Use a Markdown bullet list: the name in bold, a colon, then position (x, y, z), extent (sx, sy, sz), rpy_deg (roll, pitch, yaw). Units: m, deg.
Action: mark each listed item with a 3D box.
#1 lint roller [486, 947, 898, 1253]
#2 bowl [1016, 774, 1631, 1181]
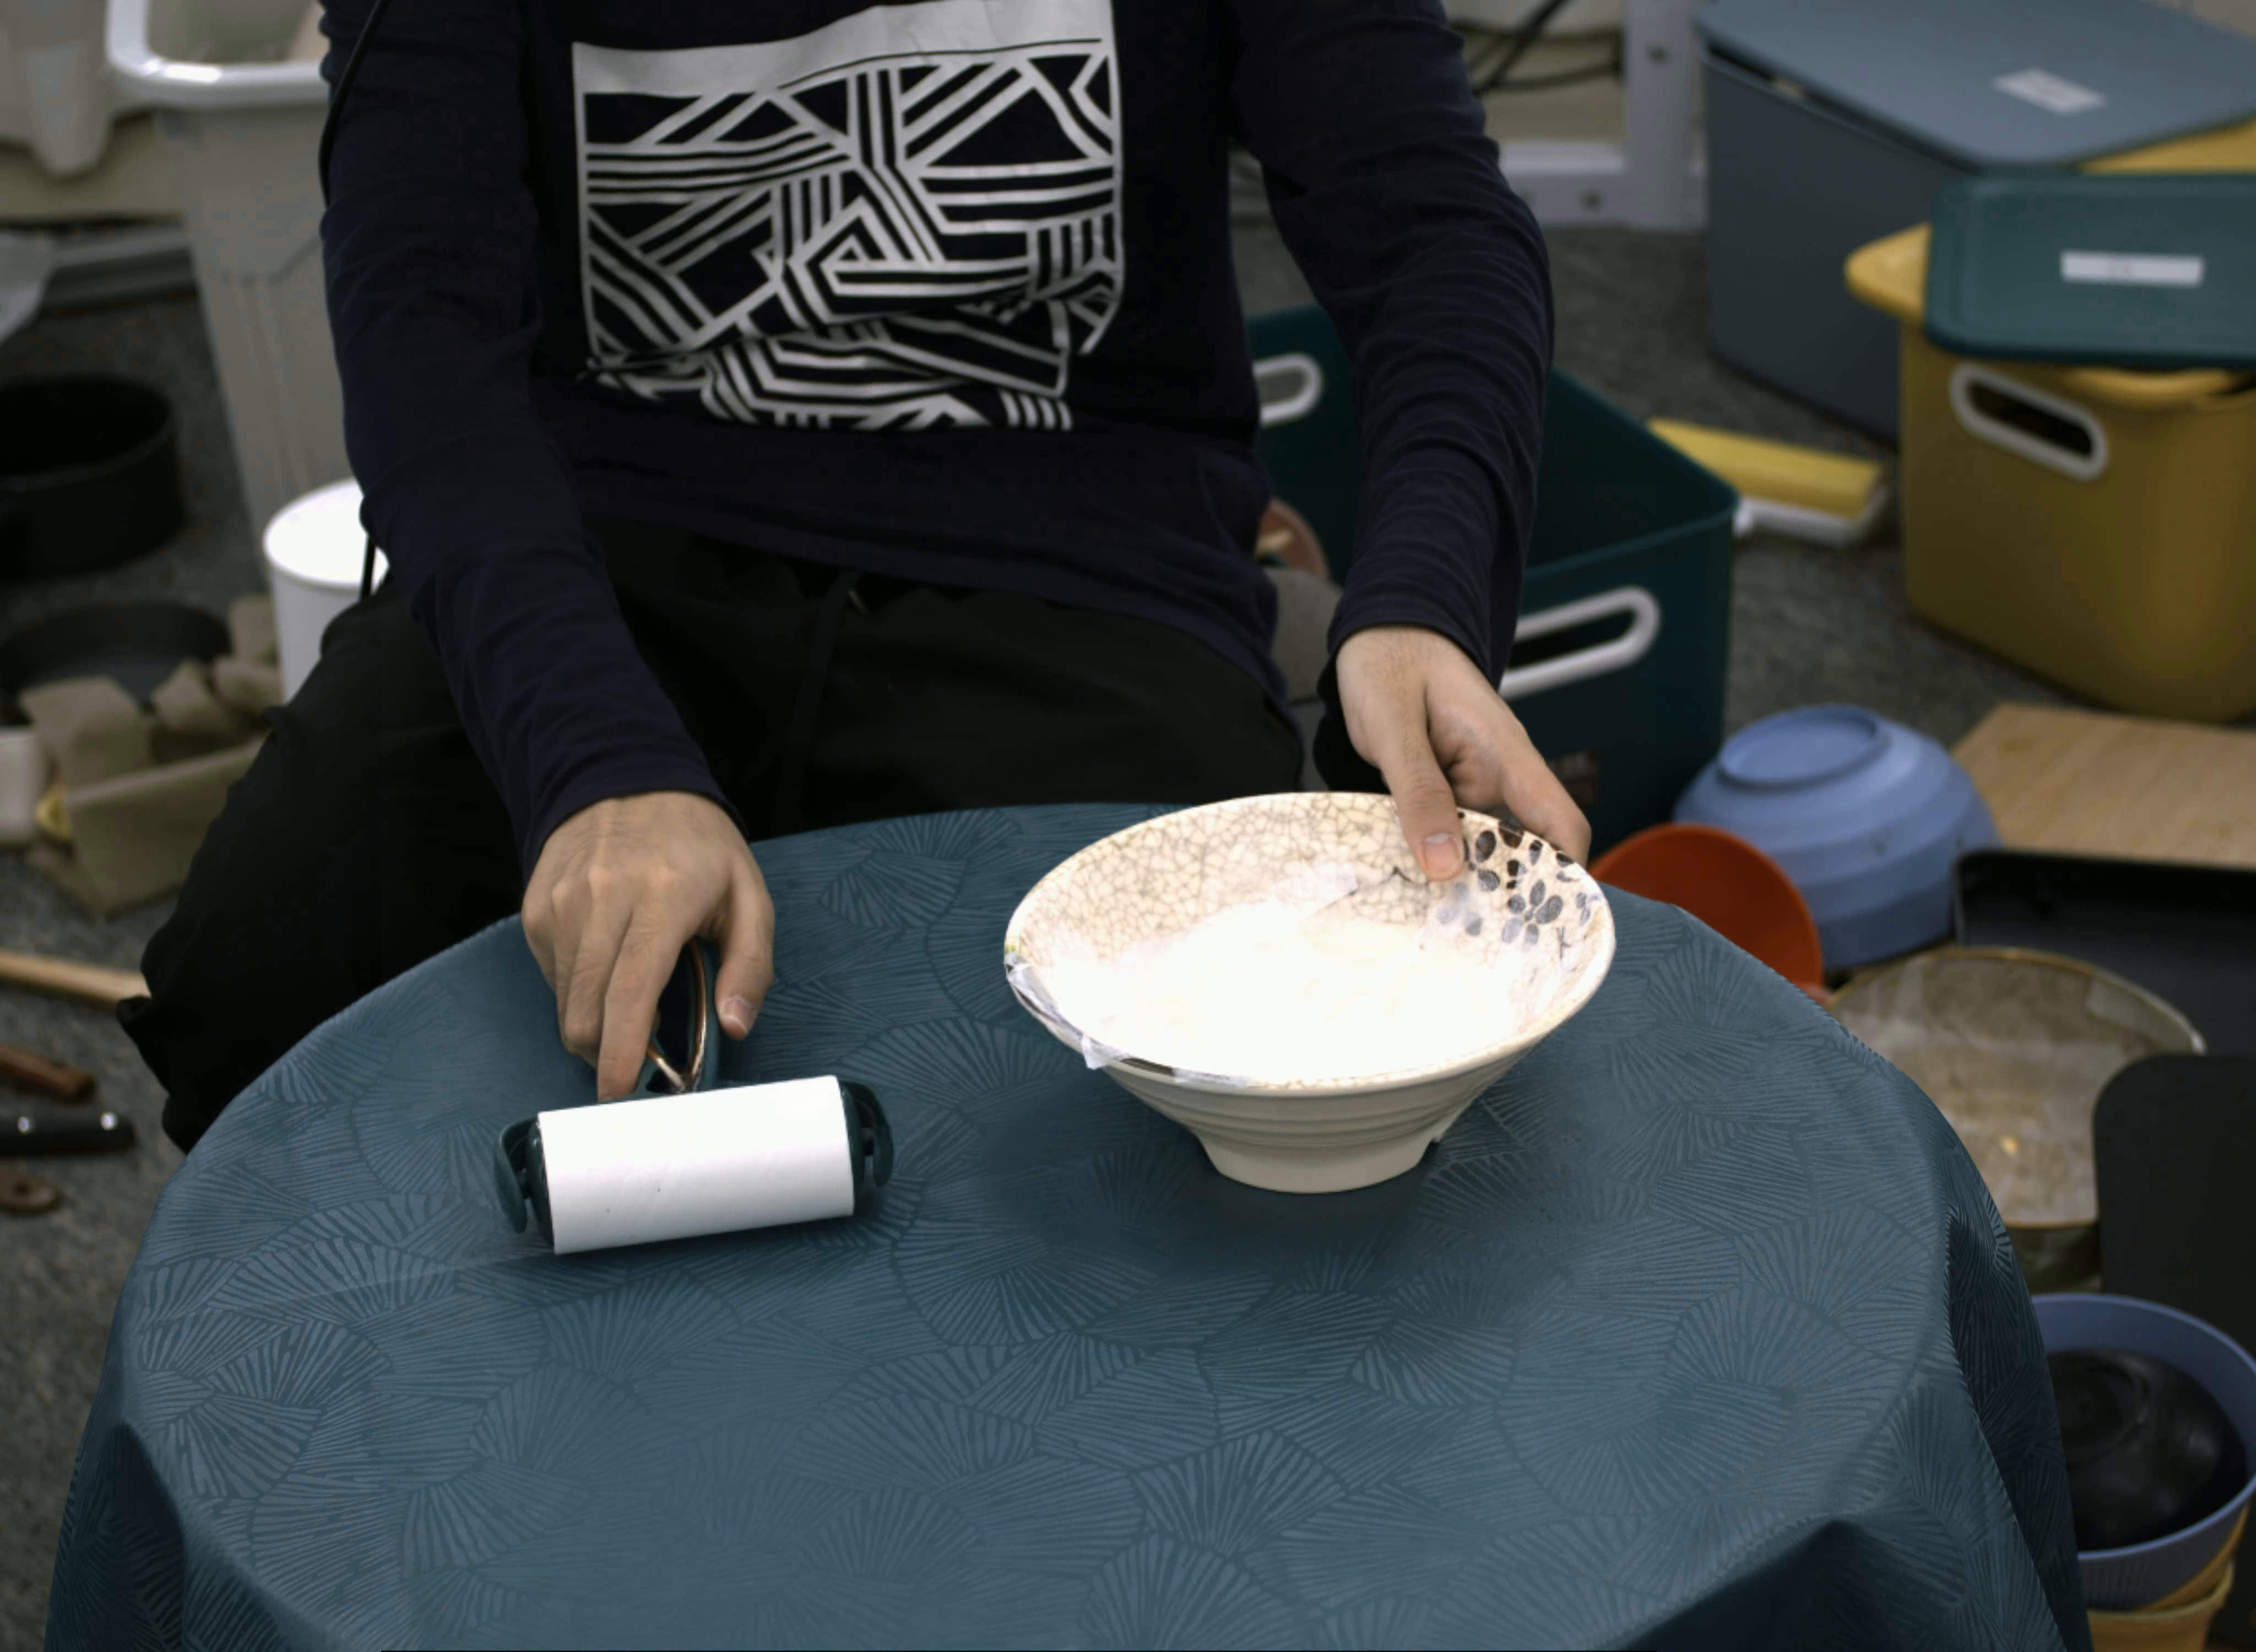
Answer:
- **lint roller**: position (-0.155, 0.075, 1.899), extent (0.134, 0.048, 0.183), rpy_deg (-7, 33, -8)
- **bowl**: position (0.064, 0.063, 1.872), extent (0.203, 0.077, 0.207), rpy_deg (1, 27, 0)
